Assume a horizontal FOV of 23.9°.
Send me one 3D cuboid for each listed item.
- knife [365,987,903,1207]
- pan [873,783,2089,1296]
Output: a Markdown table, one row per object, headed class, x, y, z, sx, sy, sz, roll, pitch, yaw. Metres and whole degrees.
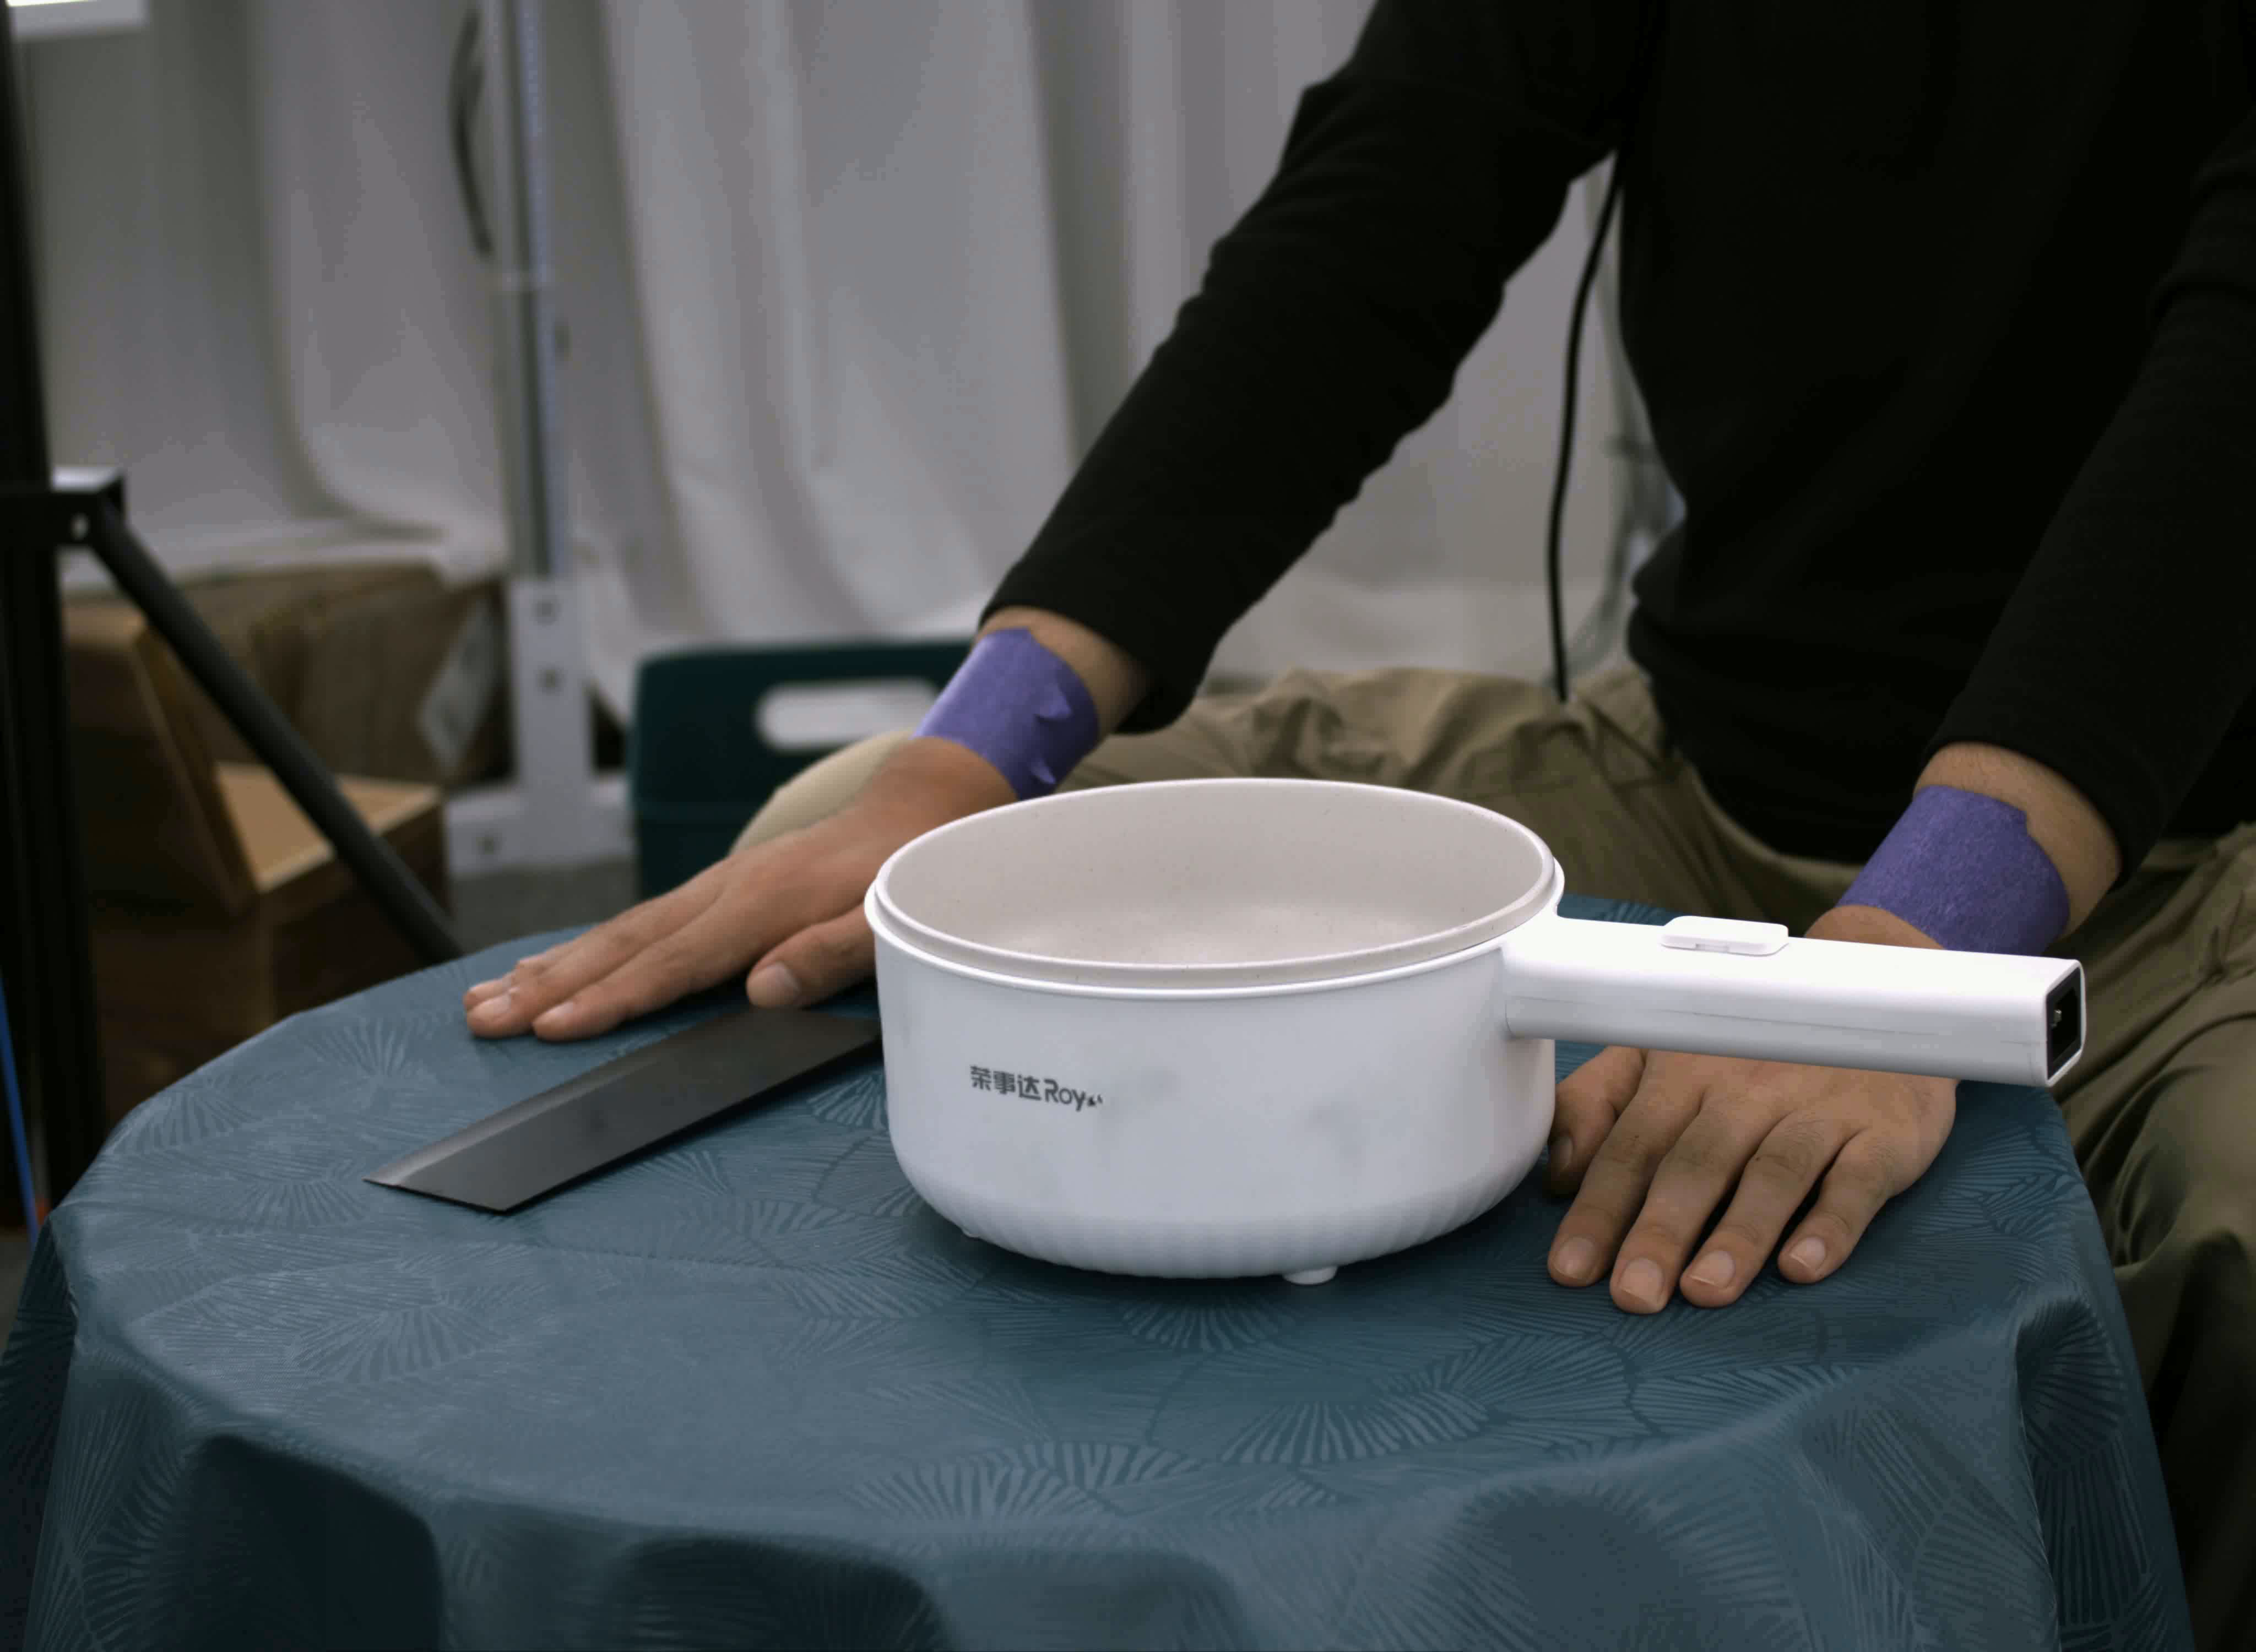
| class | x | y | z | sx | sy | sz | roll | pitch | yaw |
| --- | --- | --- | --- | --- | --- | --- | --- | --- | --- |
| knife | -0.112 | 0.070 | 1.683 | 0.083 | 0.021 | 0.296 | 11 | 23 | 44 |
| pan | 0.096 | 0.071 | 1.496 | 0.361 | 0.102 | 0.198 | 7 | 18 | 28 |
